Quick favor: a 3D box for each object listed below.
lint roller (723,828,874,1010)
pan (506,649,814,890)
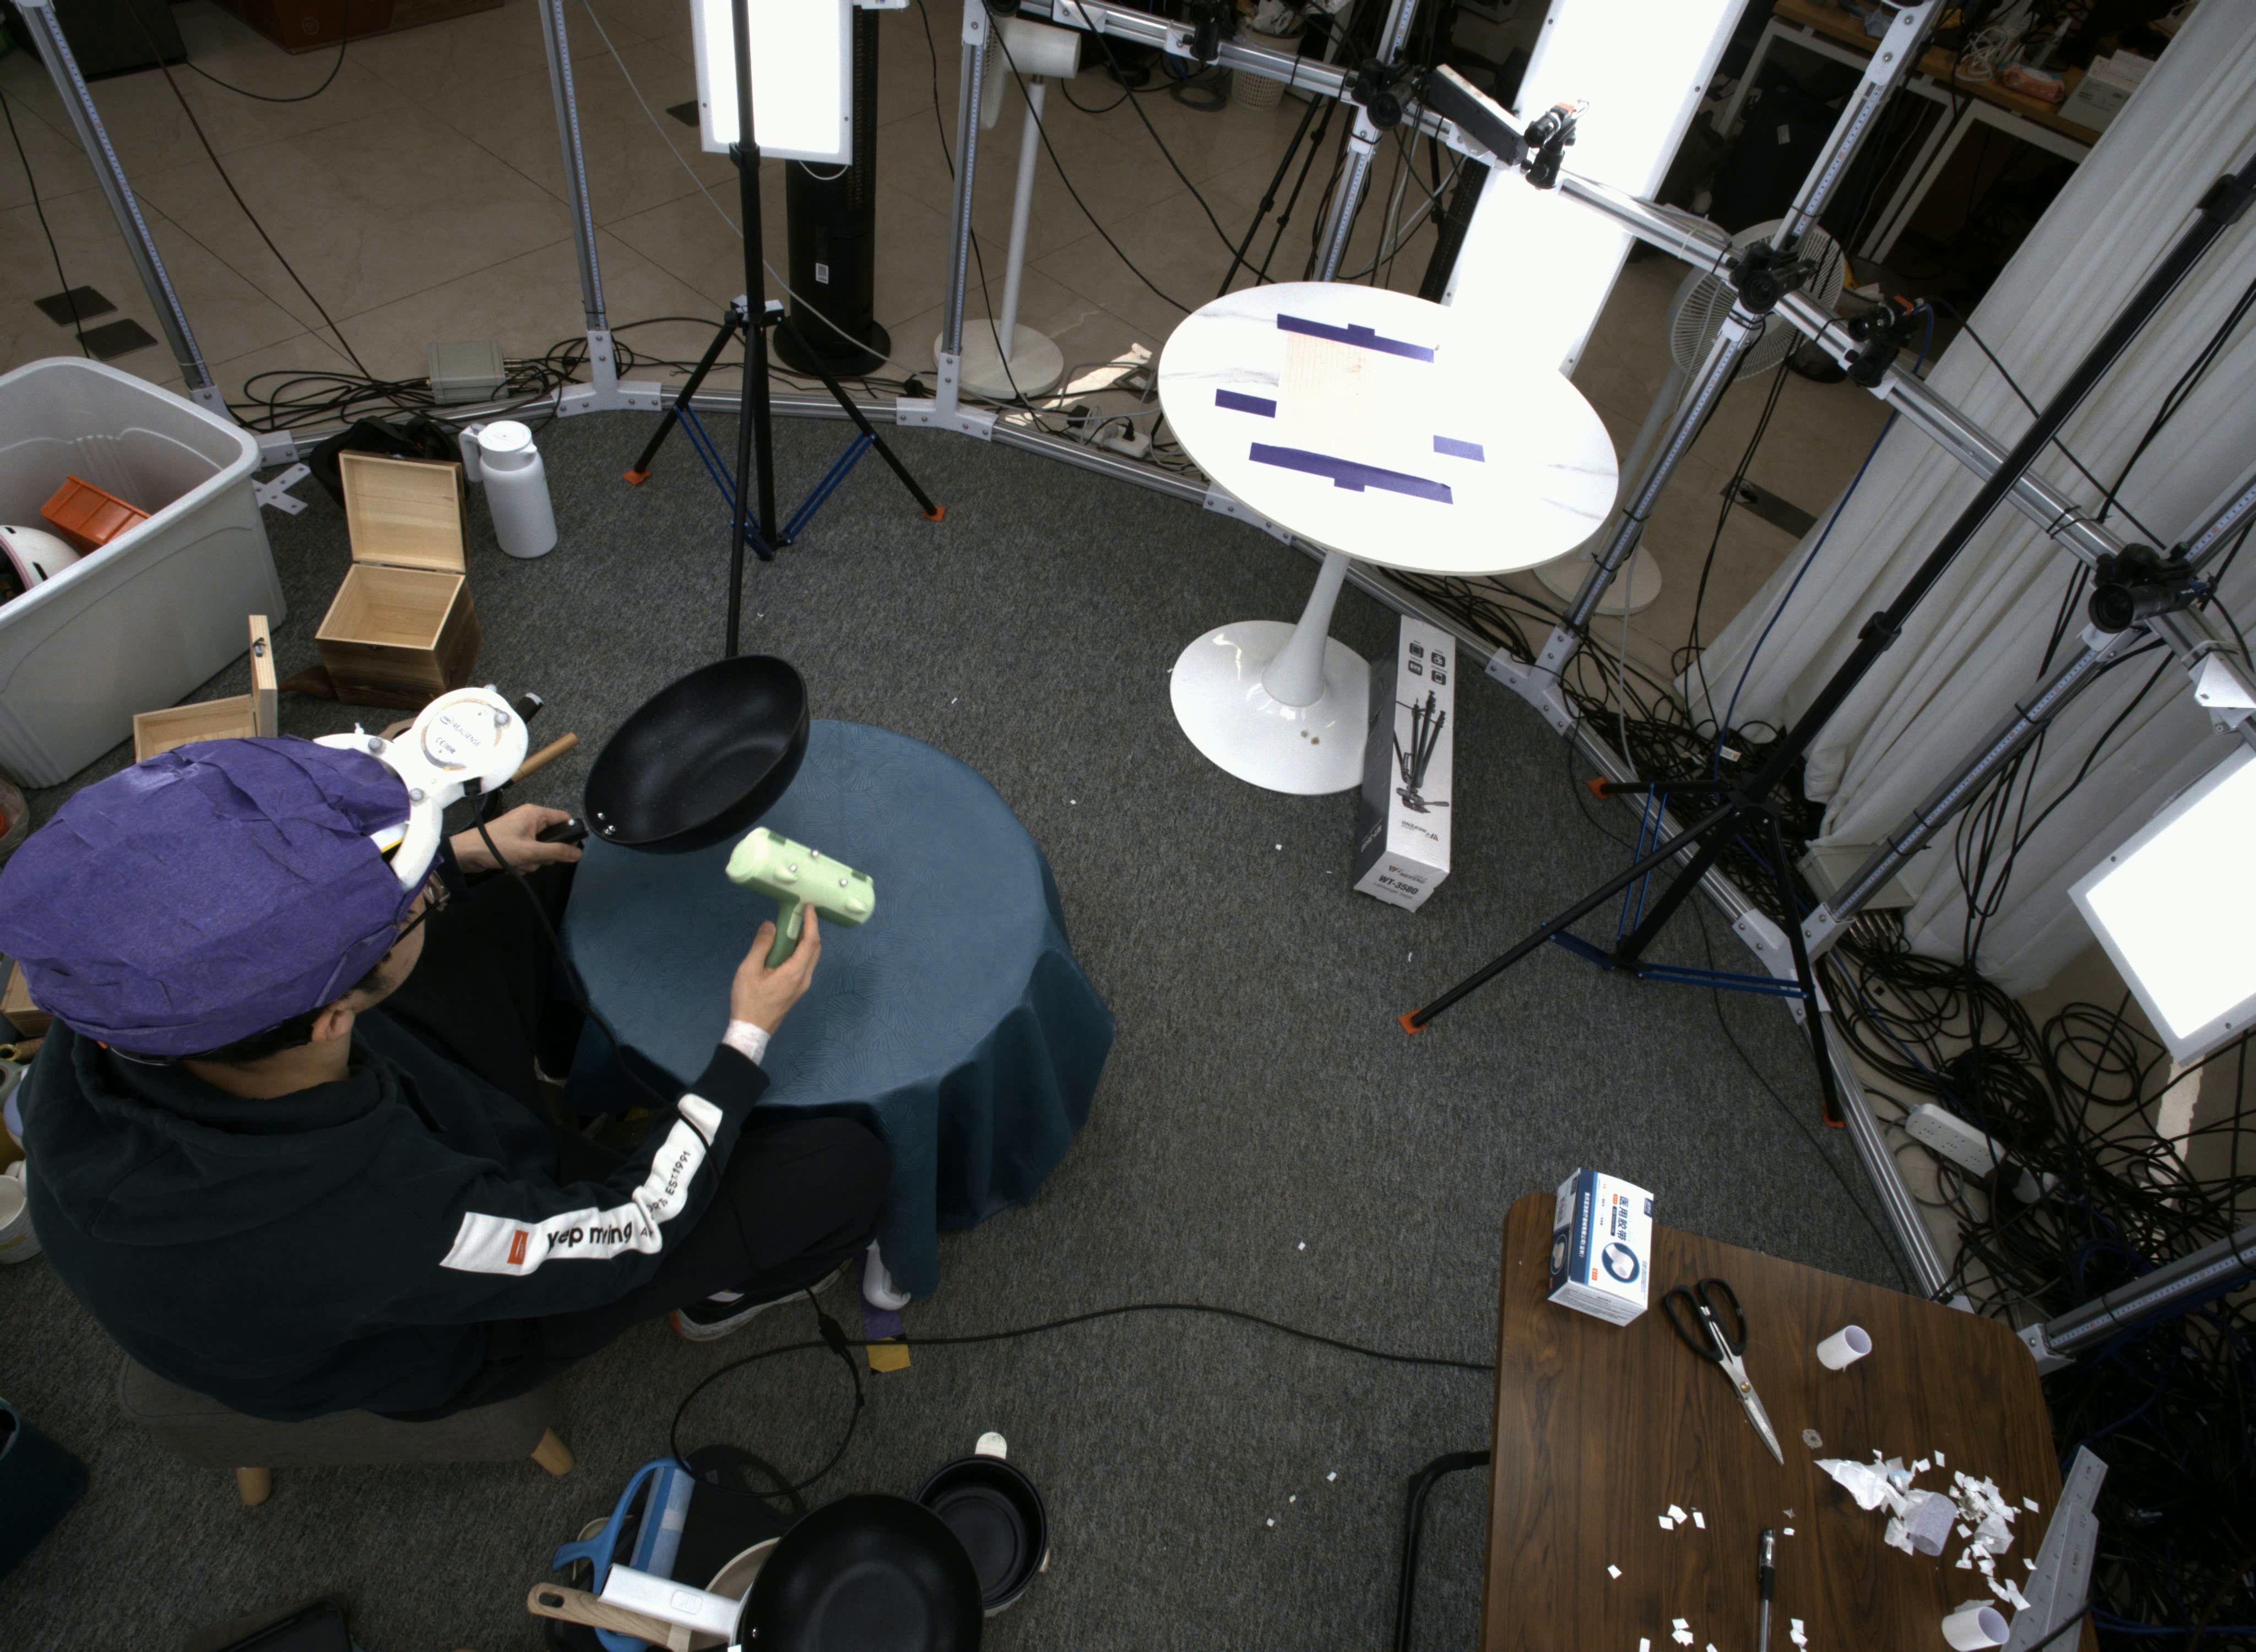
[{"bbox_3d":[-0.380,0.119,1.479,0.079,0.205,0.183,1,71,34],"label":"lint roller"},{"bbox_3d":[-0.575,-0.038,1.556,0.476,0.116,0.299,-35,44,-8],"label":"pan"}]
